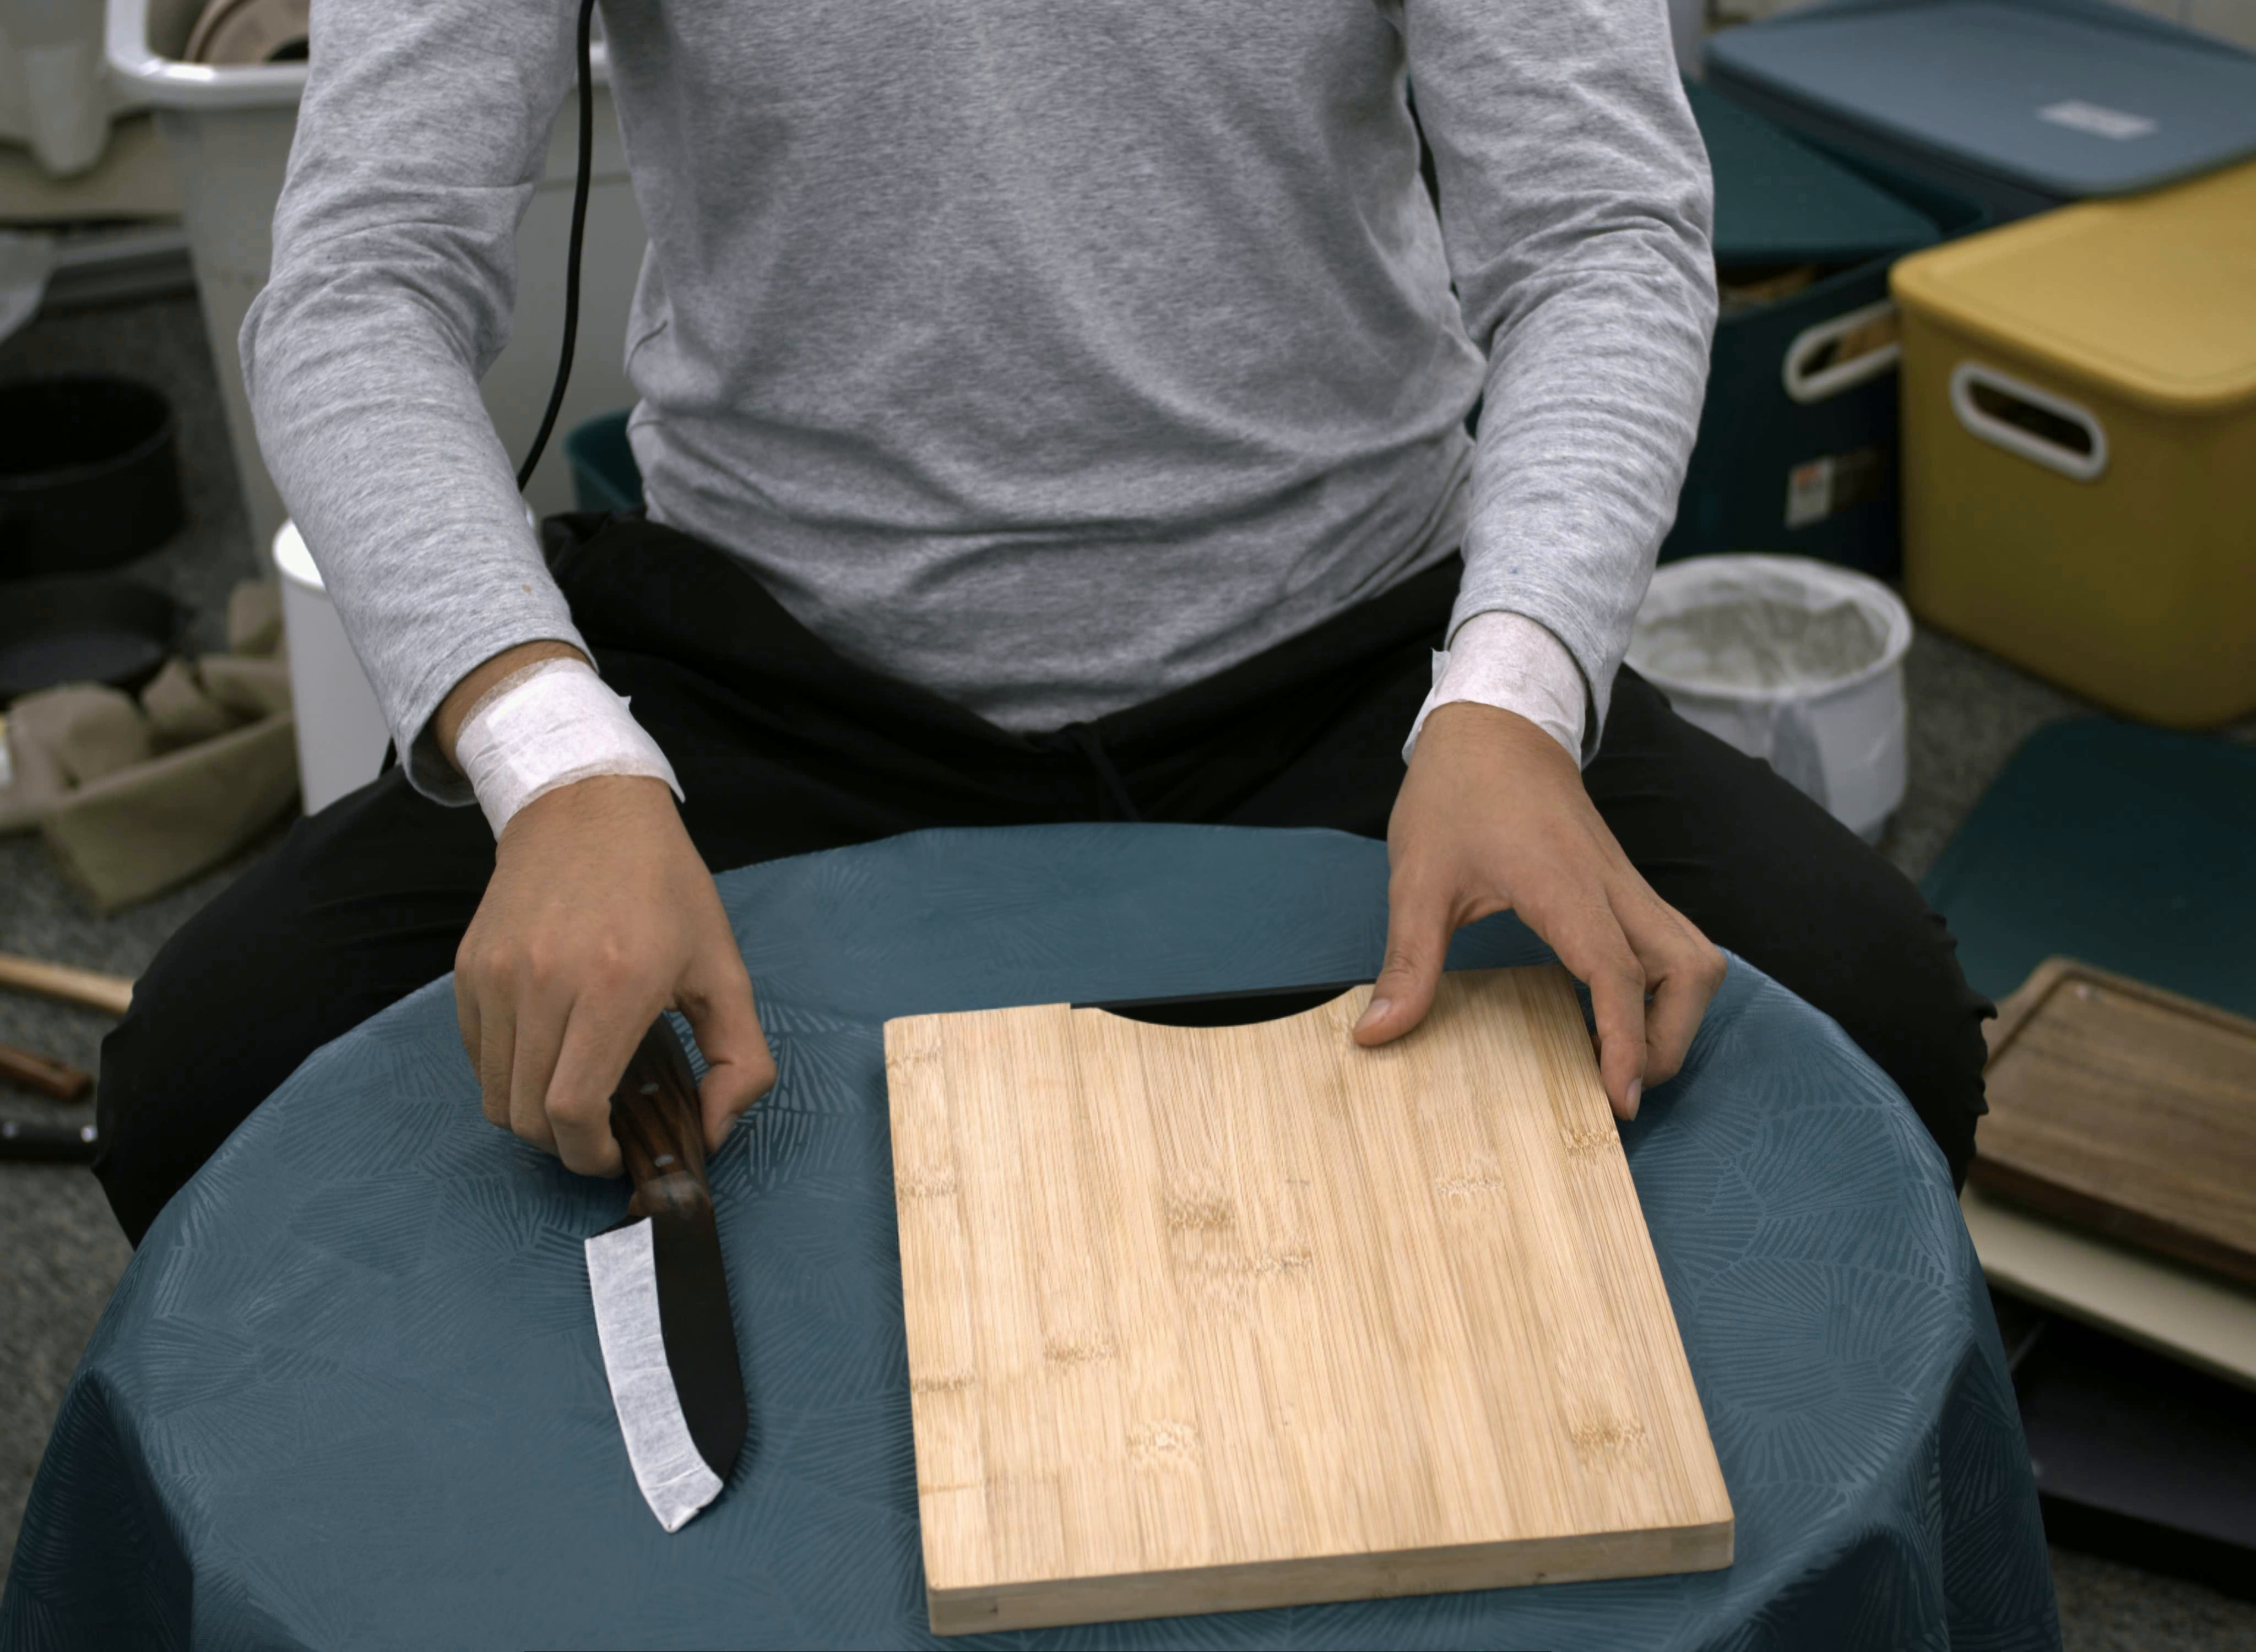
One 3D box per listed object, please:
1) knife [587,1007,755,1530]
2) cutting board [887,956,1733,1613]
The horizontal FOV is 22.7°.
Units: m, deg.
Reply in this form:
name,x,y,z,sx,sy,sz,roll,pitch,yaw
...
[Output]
name,x,y,z,sx,sy,sz,roll,pitch,yaw
knife,-0.151,0.141,1.820,0.050,0.020,0.293,-16,30,1
cutting board,0.047,0.141,1.802,0.250,0.023,0.353,-4,27,-4
